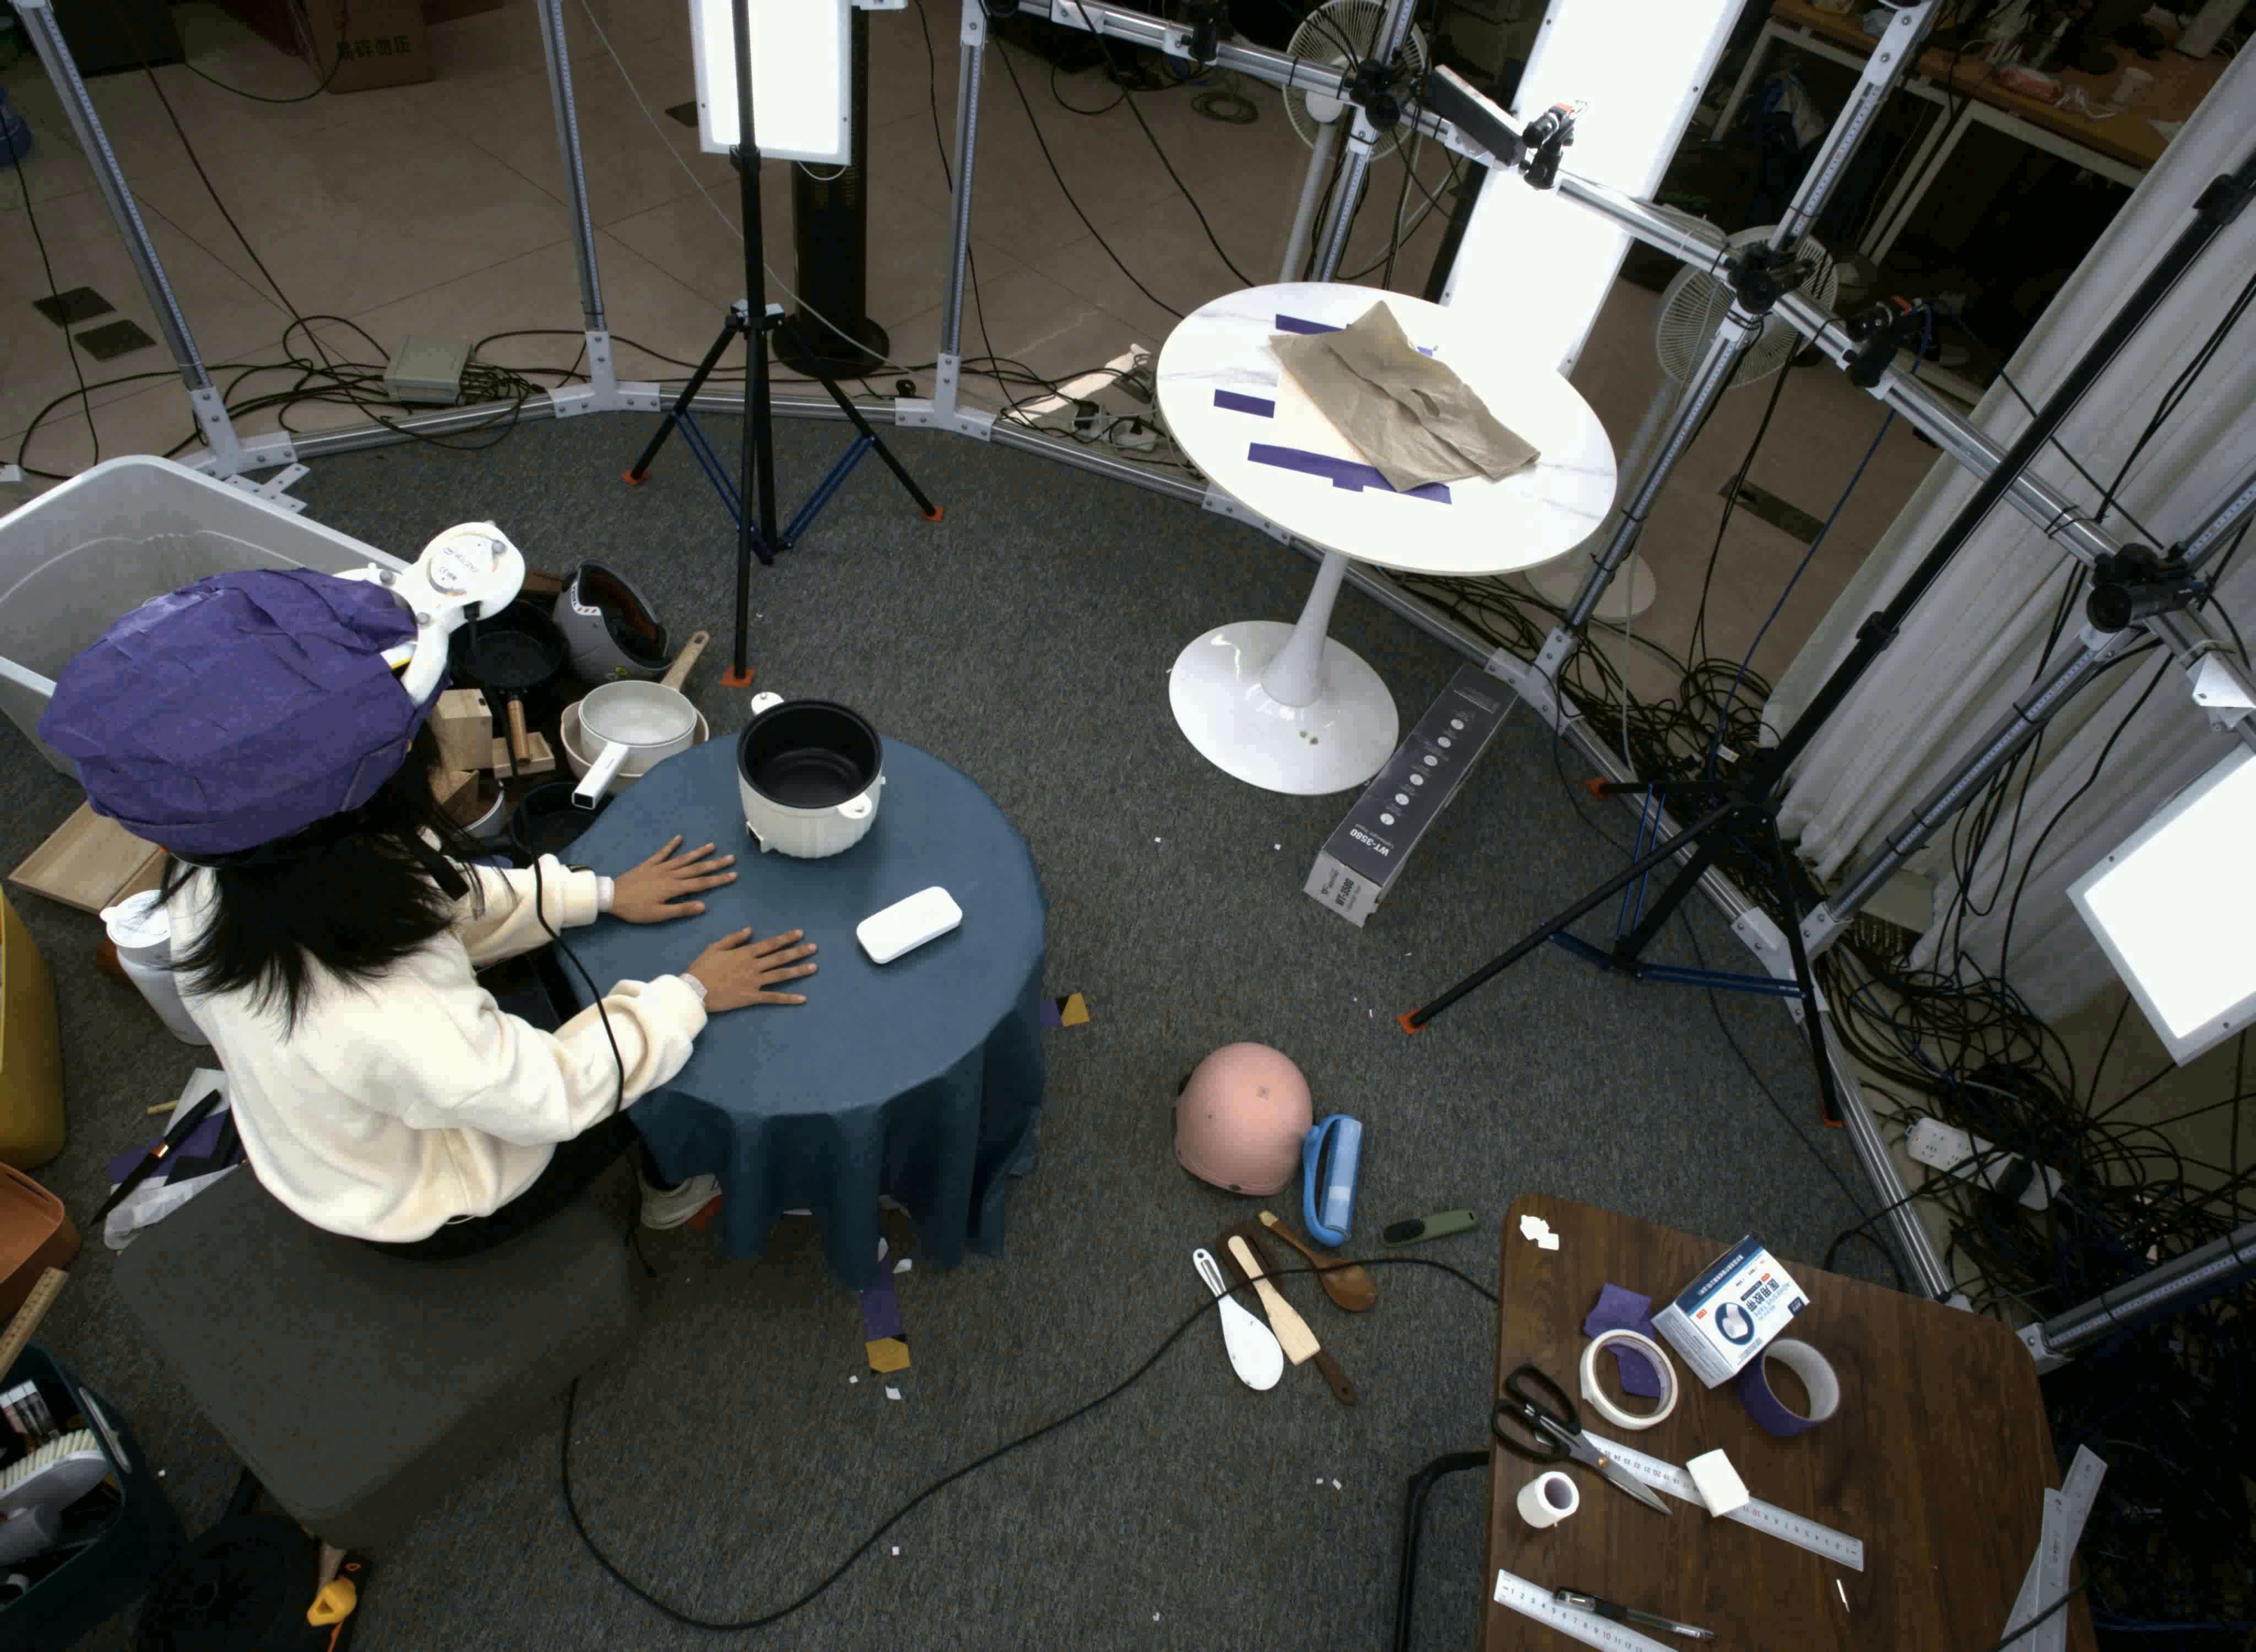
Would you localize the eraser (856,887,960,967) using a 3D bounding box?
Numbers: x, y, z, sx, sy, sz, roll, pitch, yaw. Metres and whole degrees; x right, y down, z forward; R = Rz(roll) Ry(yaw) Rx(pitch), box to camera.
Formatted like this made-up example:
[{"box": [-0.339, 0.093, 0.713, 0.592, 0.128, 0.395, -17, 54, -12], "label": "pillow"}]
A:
[{"box": [-0.278, 0.124, 1.646, 0.132, 0.035, 0.062, -28, 62, -30], "label": "eraser"}]

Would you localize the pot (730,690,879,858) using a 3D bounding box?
[{"box": [-0.410, -0.060, 1.677, 0.191, 0.145, 0.235, -35, 69, -29], "label": "pot"}]
